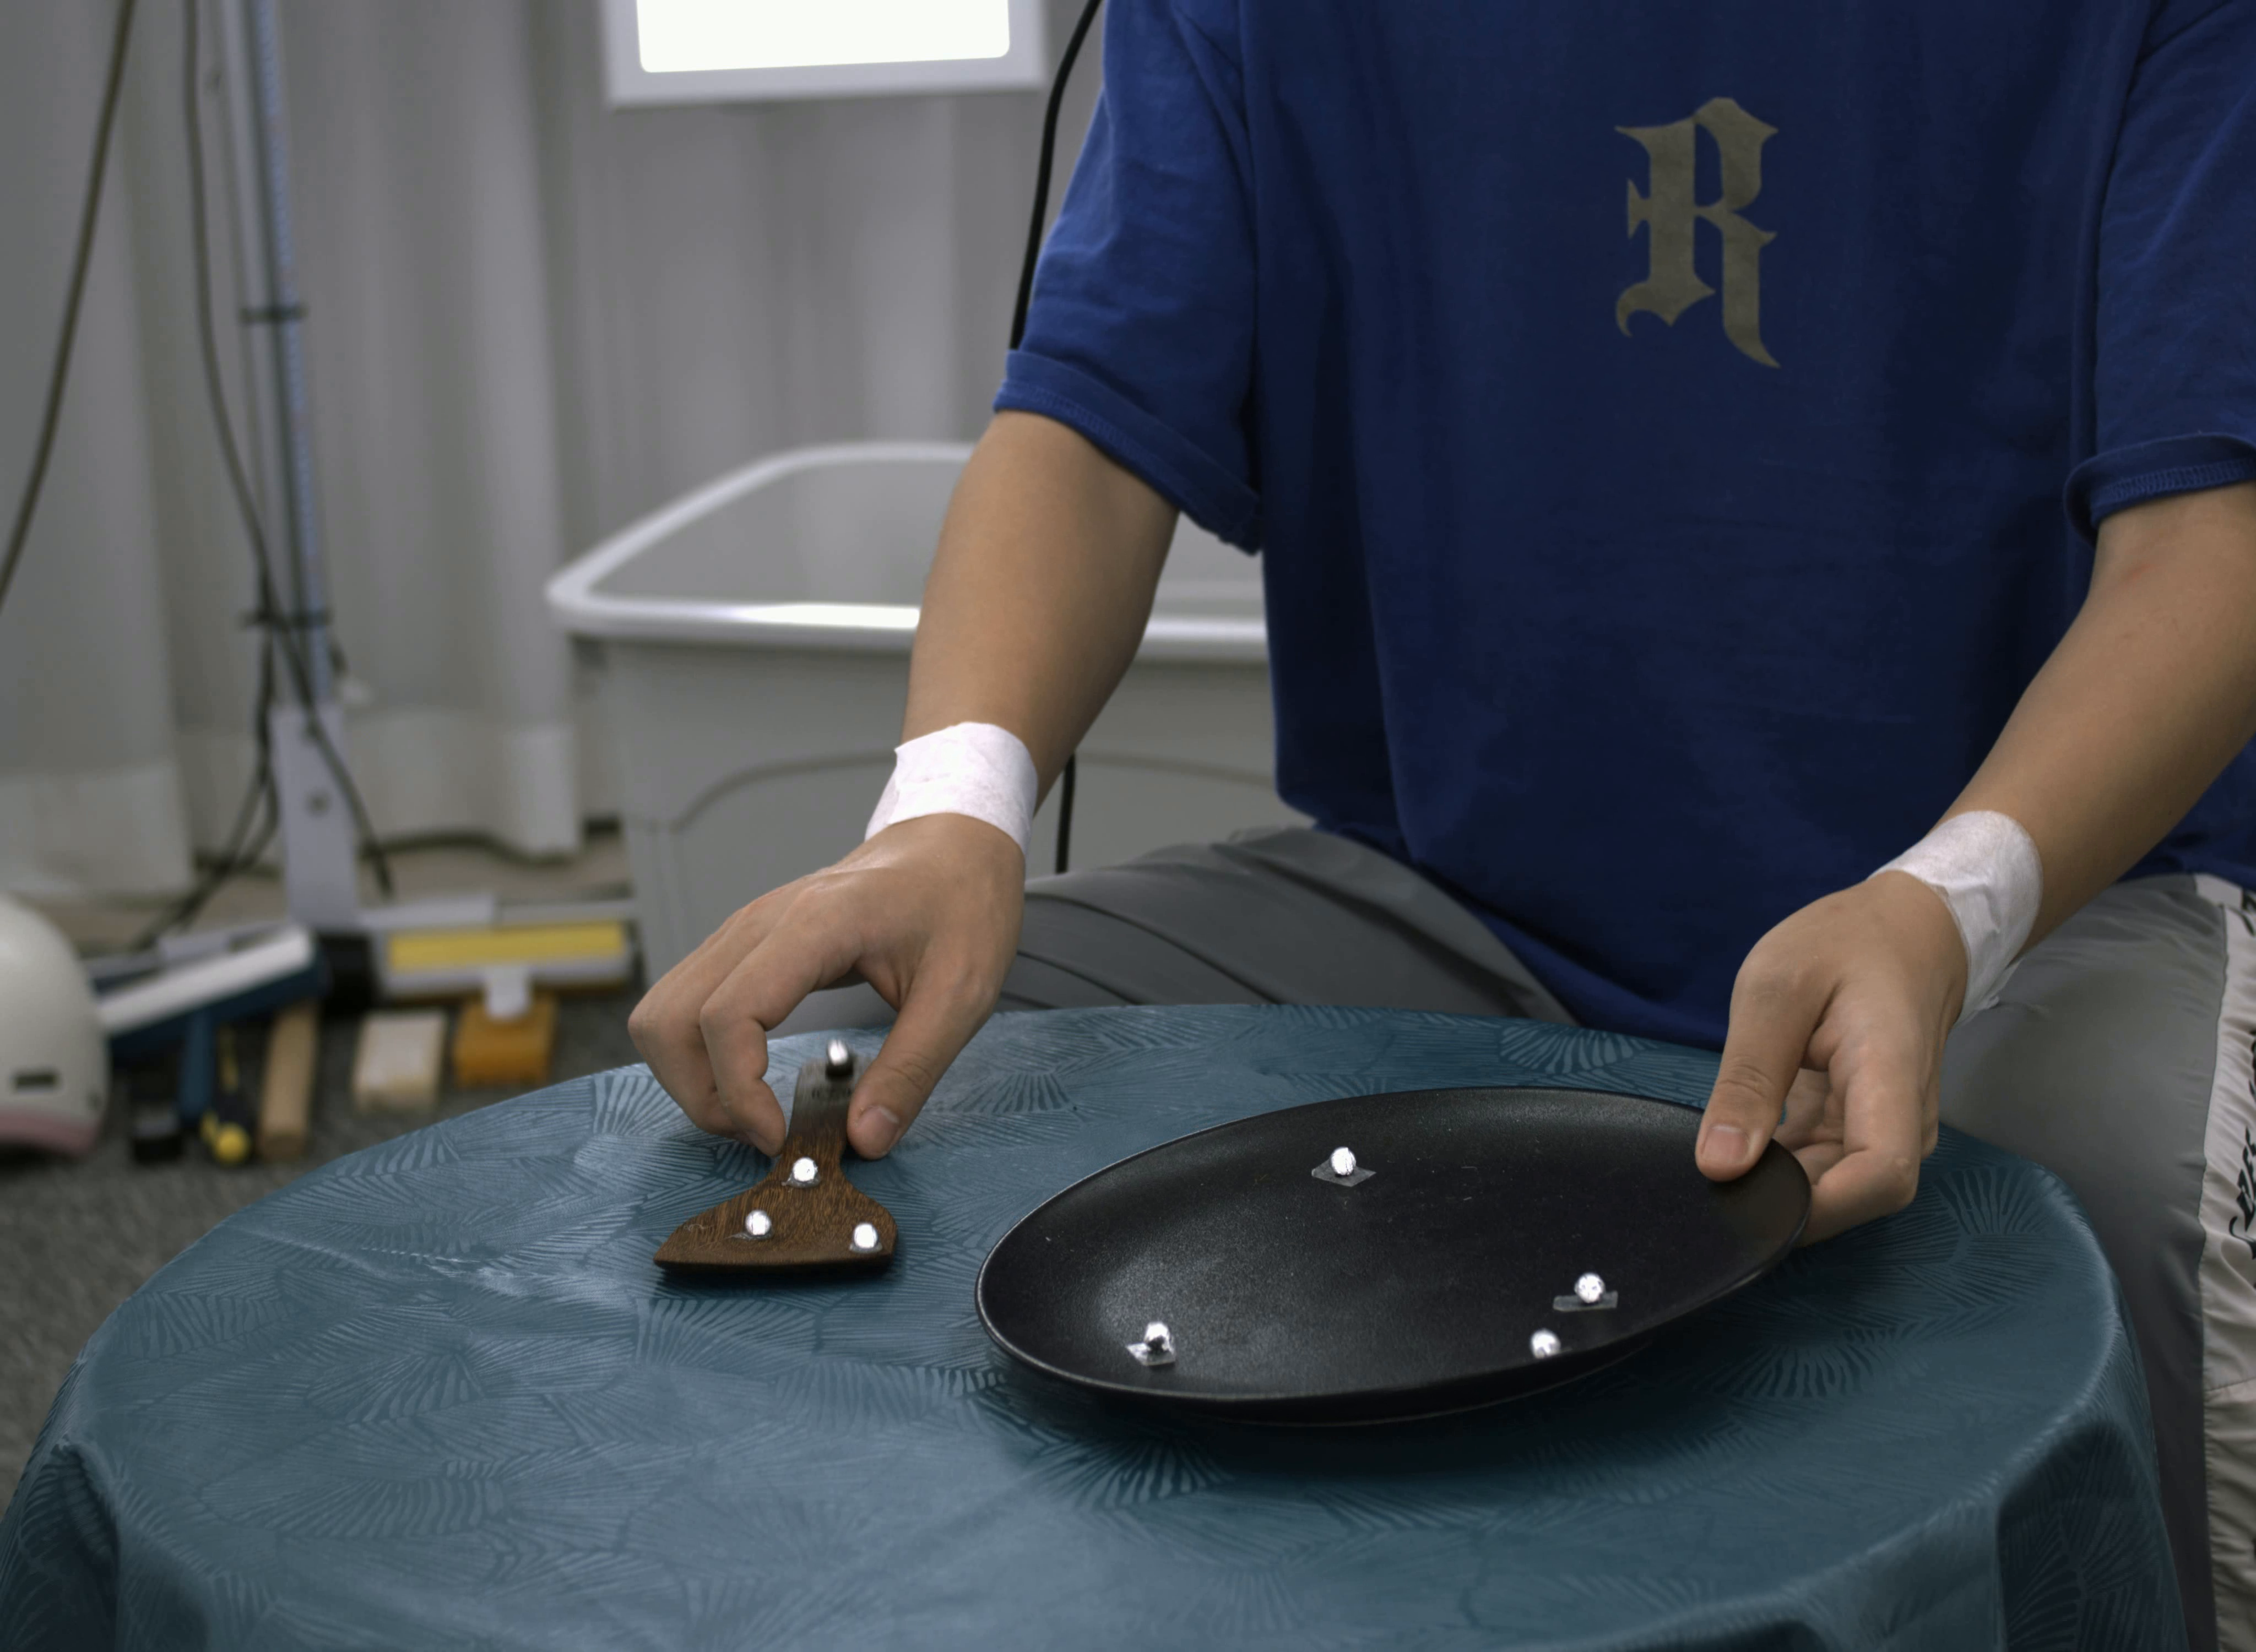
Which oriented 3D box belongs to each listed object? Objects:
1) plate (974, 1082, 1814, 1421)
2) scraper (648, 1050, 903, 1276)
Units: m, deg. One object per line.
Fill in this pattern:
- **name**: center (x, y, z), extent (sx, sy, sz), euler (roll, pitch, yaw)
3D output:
- **plate**: center (0.077, 0.125, 1.575), extent (0.243, 0.023, 0.246), euler (-8, 16, 2)
- **scraper**: center (-0.101, 0.107, 1.737), extent (0.075, 0.011, 0.213), euler (-1, 16, 4)
